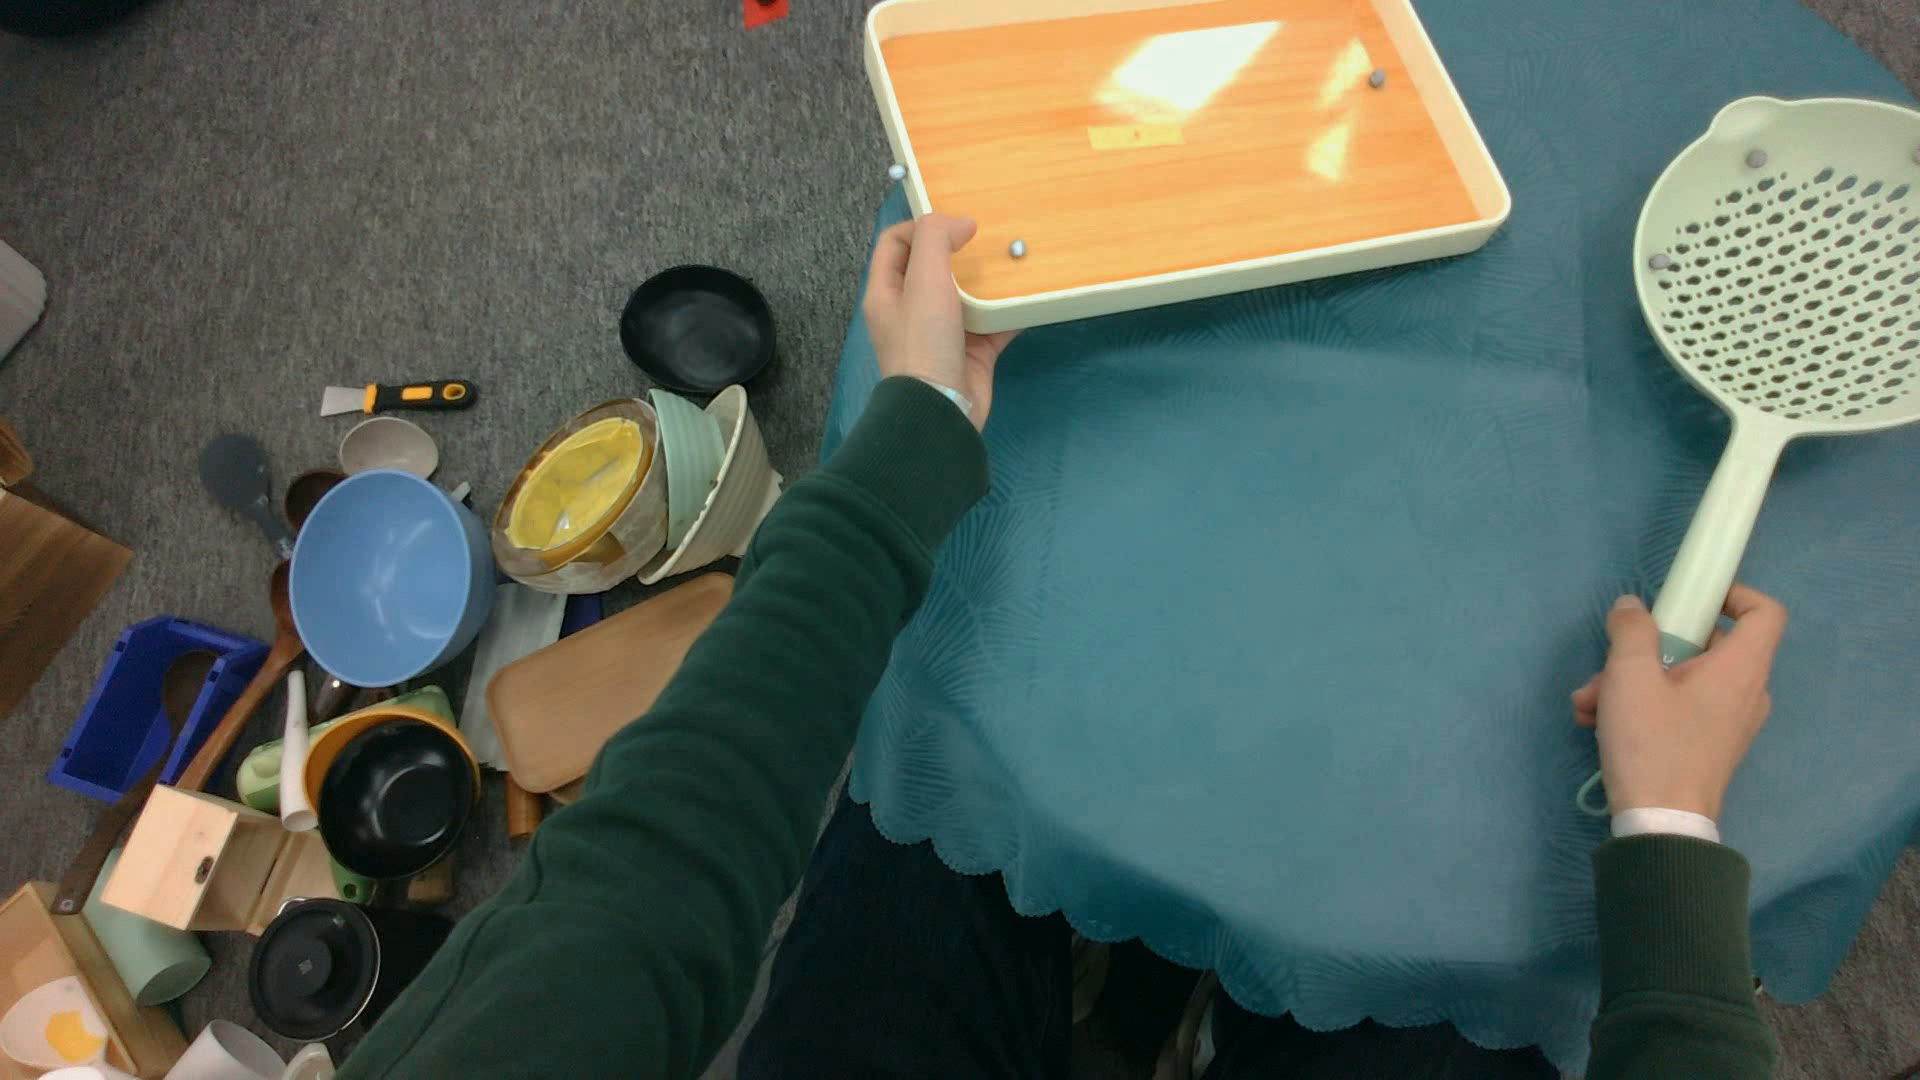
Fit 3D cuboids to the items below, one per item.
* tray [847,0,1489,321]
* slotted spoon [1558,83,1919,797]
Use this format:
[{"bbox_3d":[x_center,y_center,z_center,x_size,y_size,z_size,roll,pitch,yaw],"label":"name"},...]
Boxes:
[{"bbox_3d":[0.106,-0.217,0.709,0.301,0.027,0.192,-11,68,-14],"label":"tray"},{"bbox_3d":[0.353,-0.049,0.636,0.169,0.075,0.360,23,72,21],"label":"slotted spoon"}]
